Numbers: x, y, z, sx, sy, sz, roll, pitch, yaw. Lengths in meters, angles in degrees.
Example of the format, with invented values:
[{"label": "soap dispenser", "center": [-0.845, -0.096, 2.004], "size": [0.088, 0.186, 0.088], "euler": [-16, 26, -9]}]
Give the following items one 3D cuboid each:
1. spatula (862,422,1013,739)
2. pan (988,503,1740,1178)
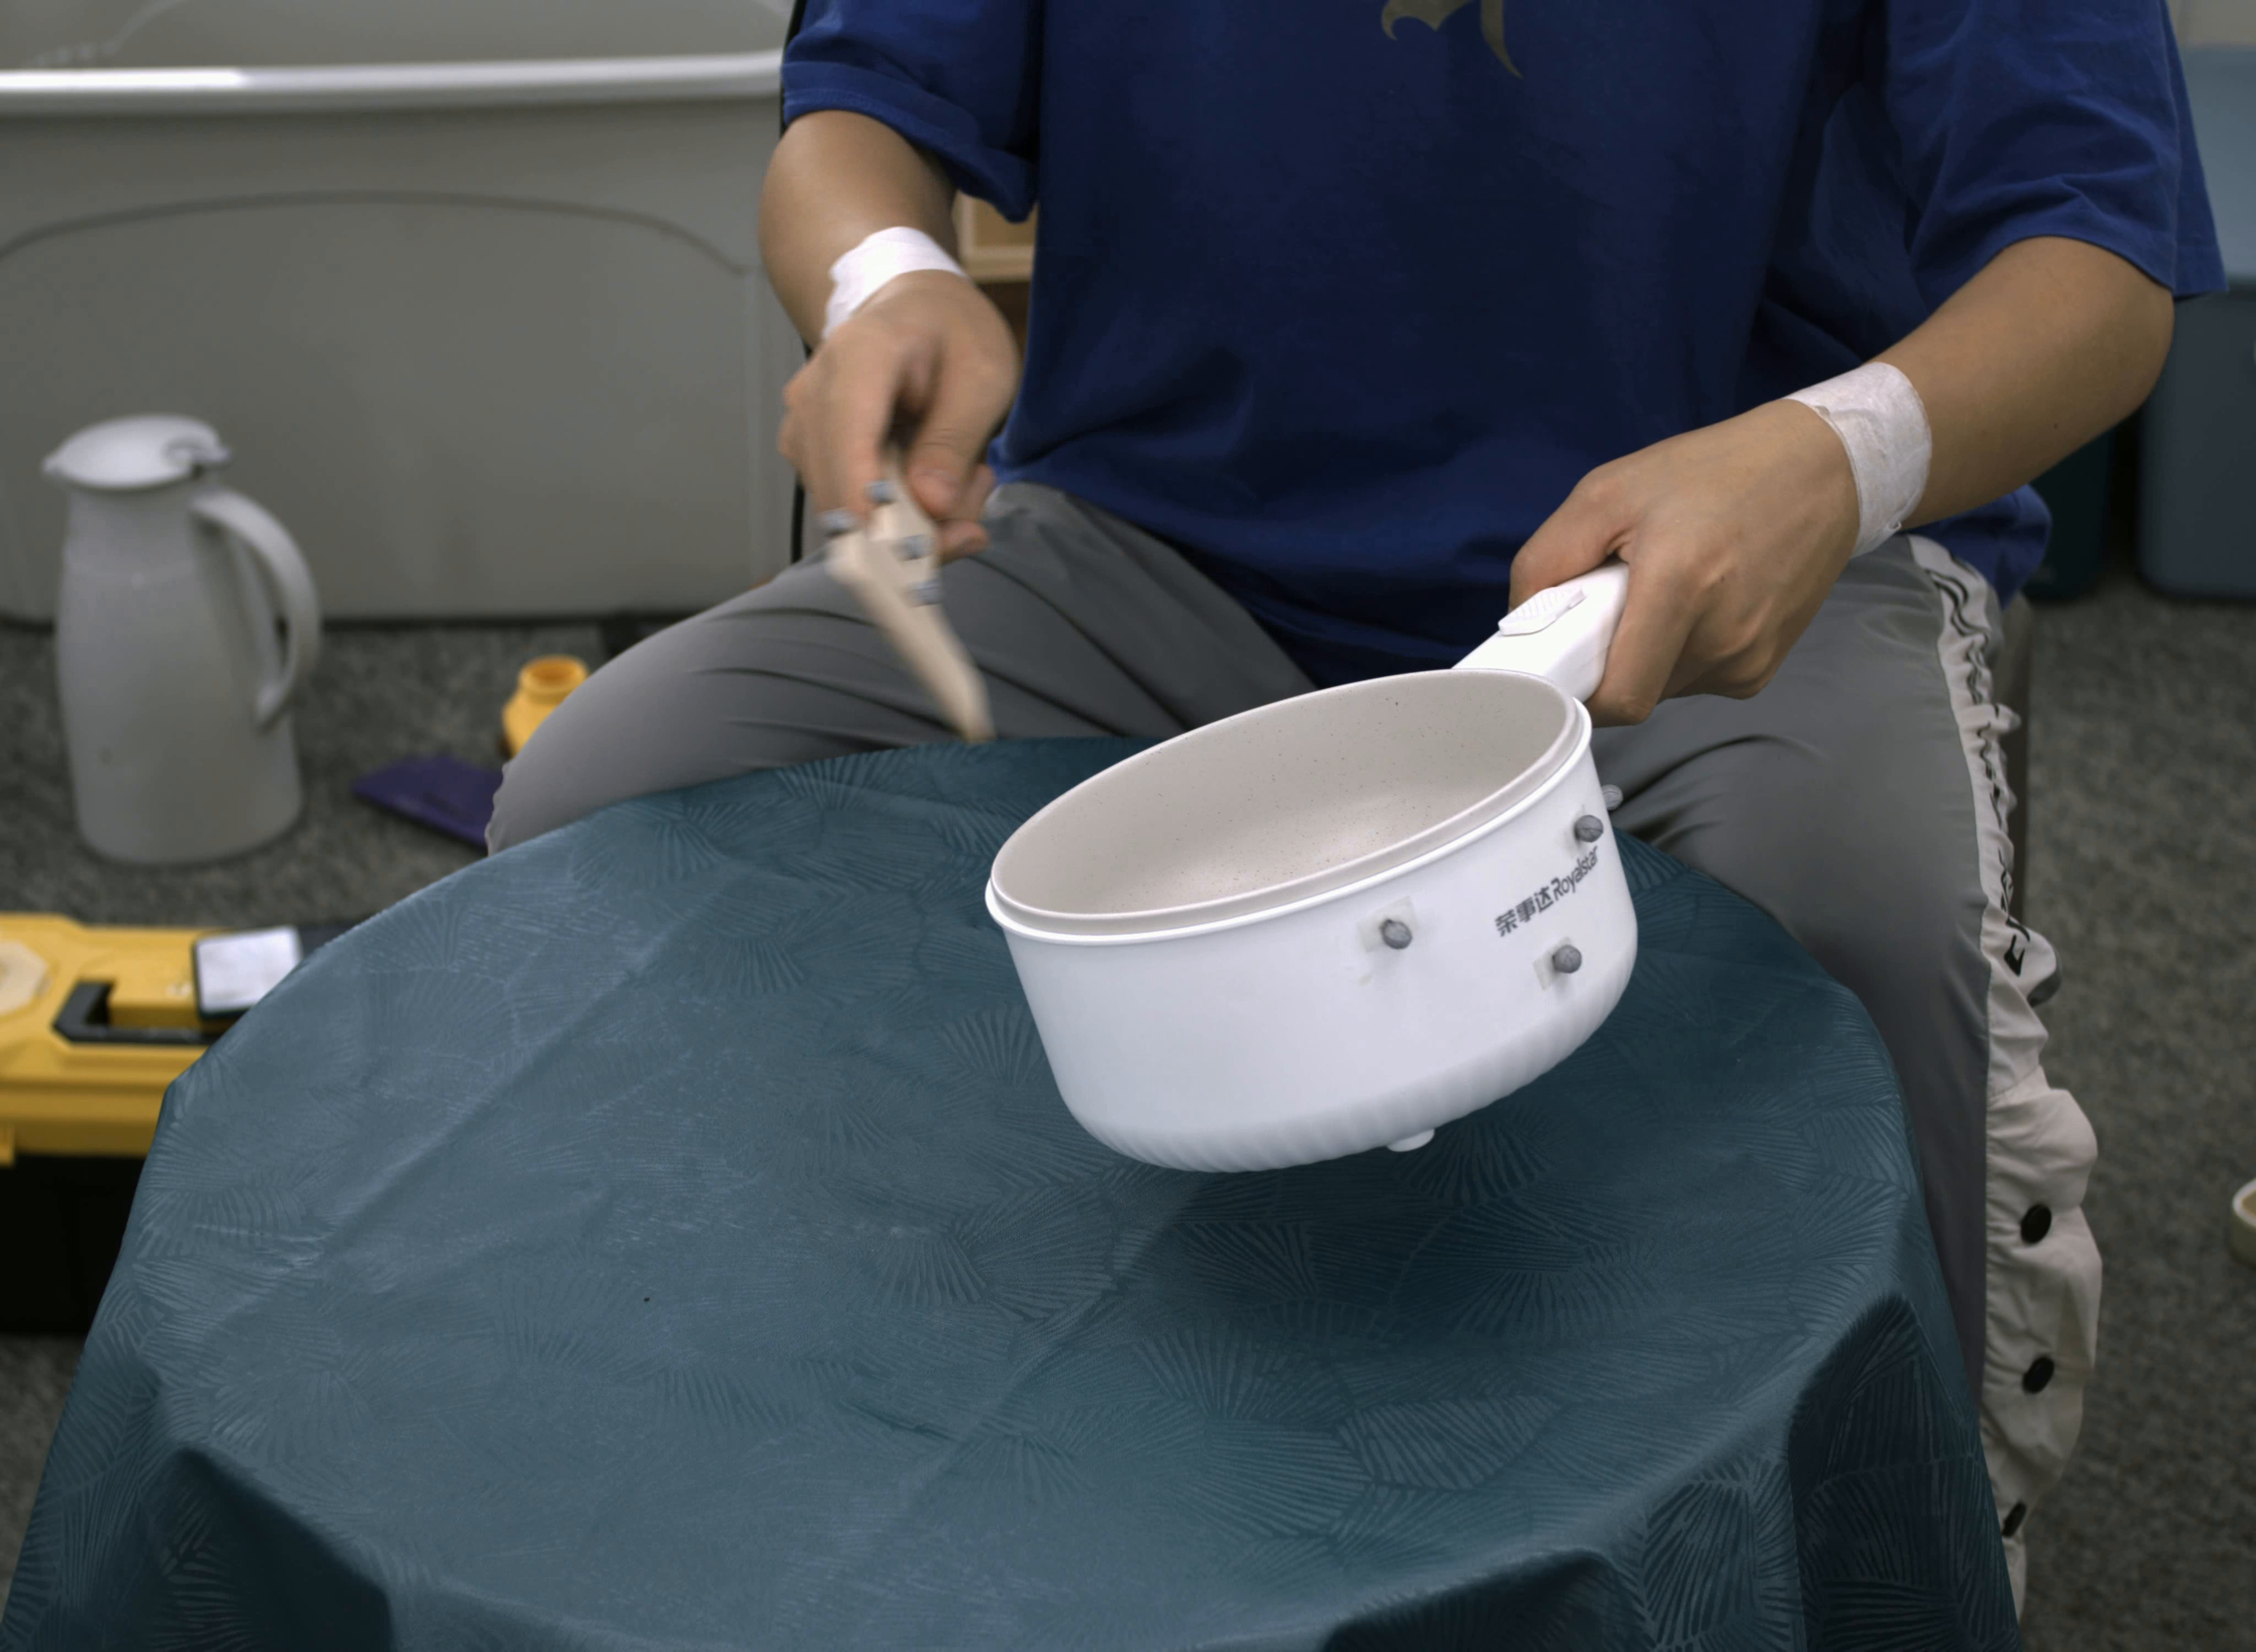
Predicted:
[{"label": "spatula", "center": [-0.067, -0.094, 1.885], "size": [0.010, 0.072, 0.295], "euler": [-36, 15, 7]}, {"label": "pan", "center": [0.107, 0.003, 1.859], "size": [0.199, 0.101, 0.360], "euler": [-7, 19, 39]}]
